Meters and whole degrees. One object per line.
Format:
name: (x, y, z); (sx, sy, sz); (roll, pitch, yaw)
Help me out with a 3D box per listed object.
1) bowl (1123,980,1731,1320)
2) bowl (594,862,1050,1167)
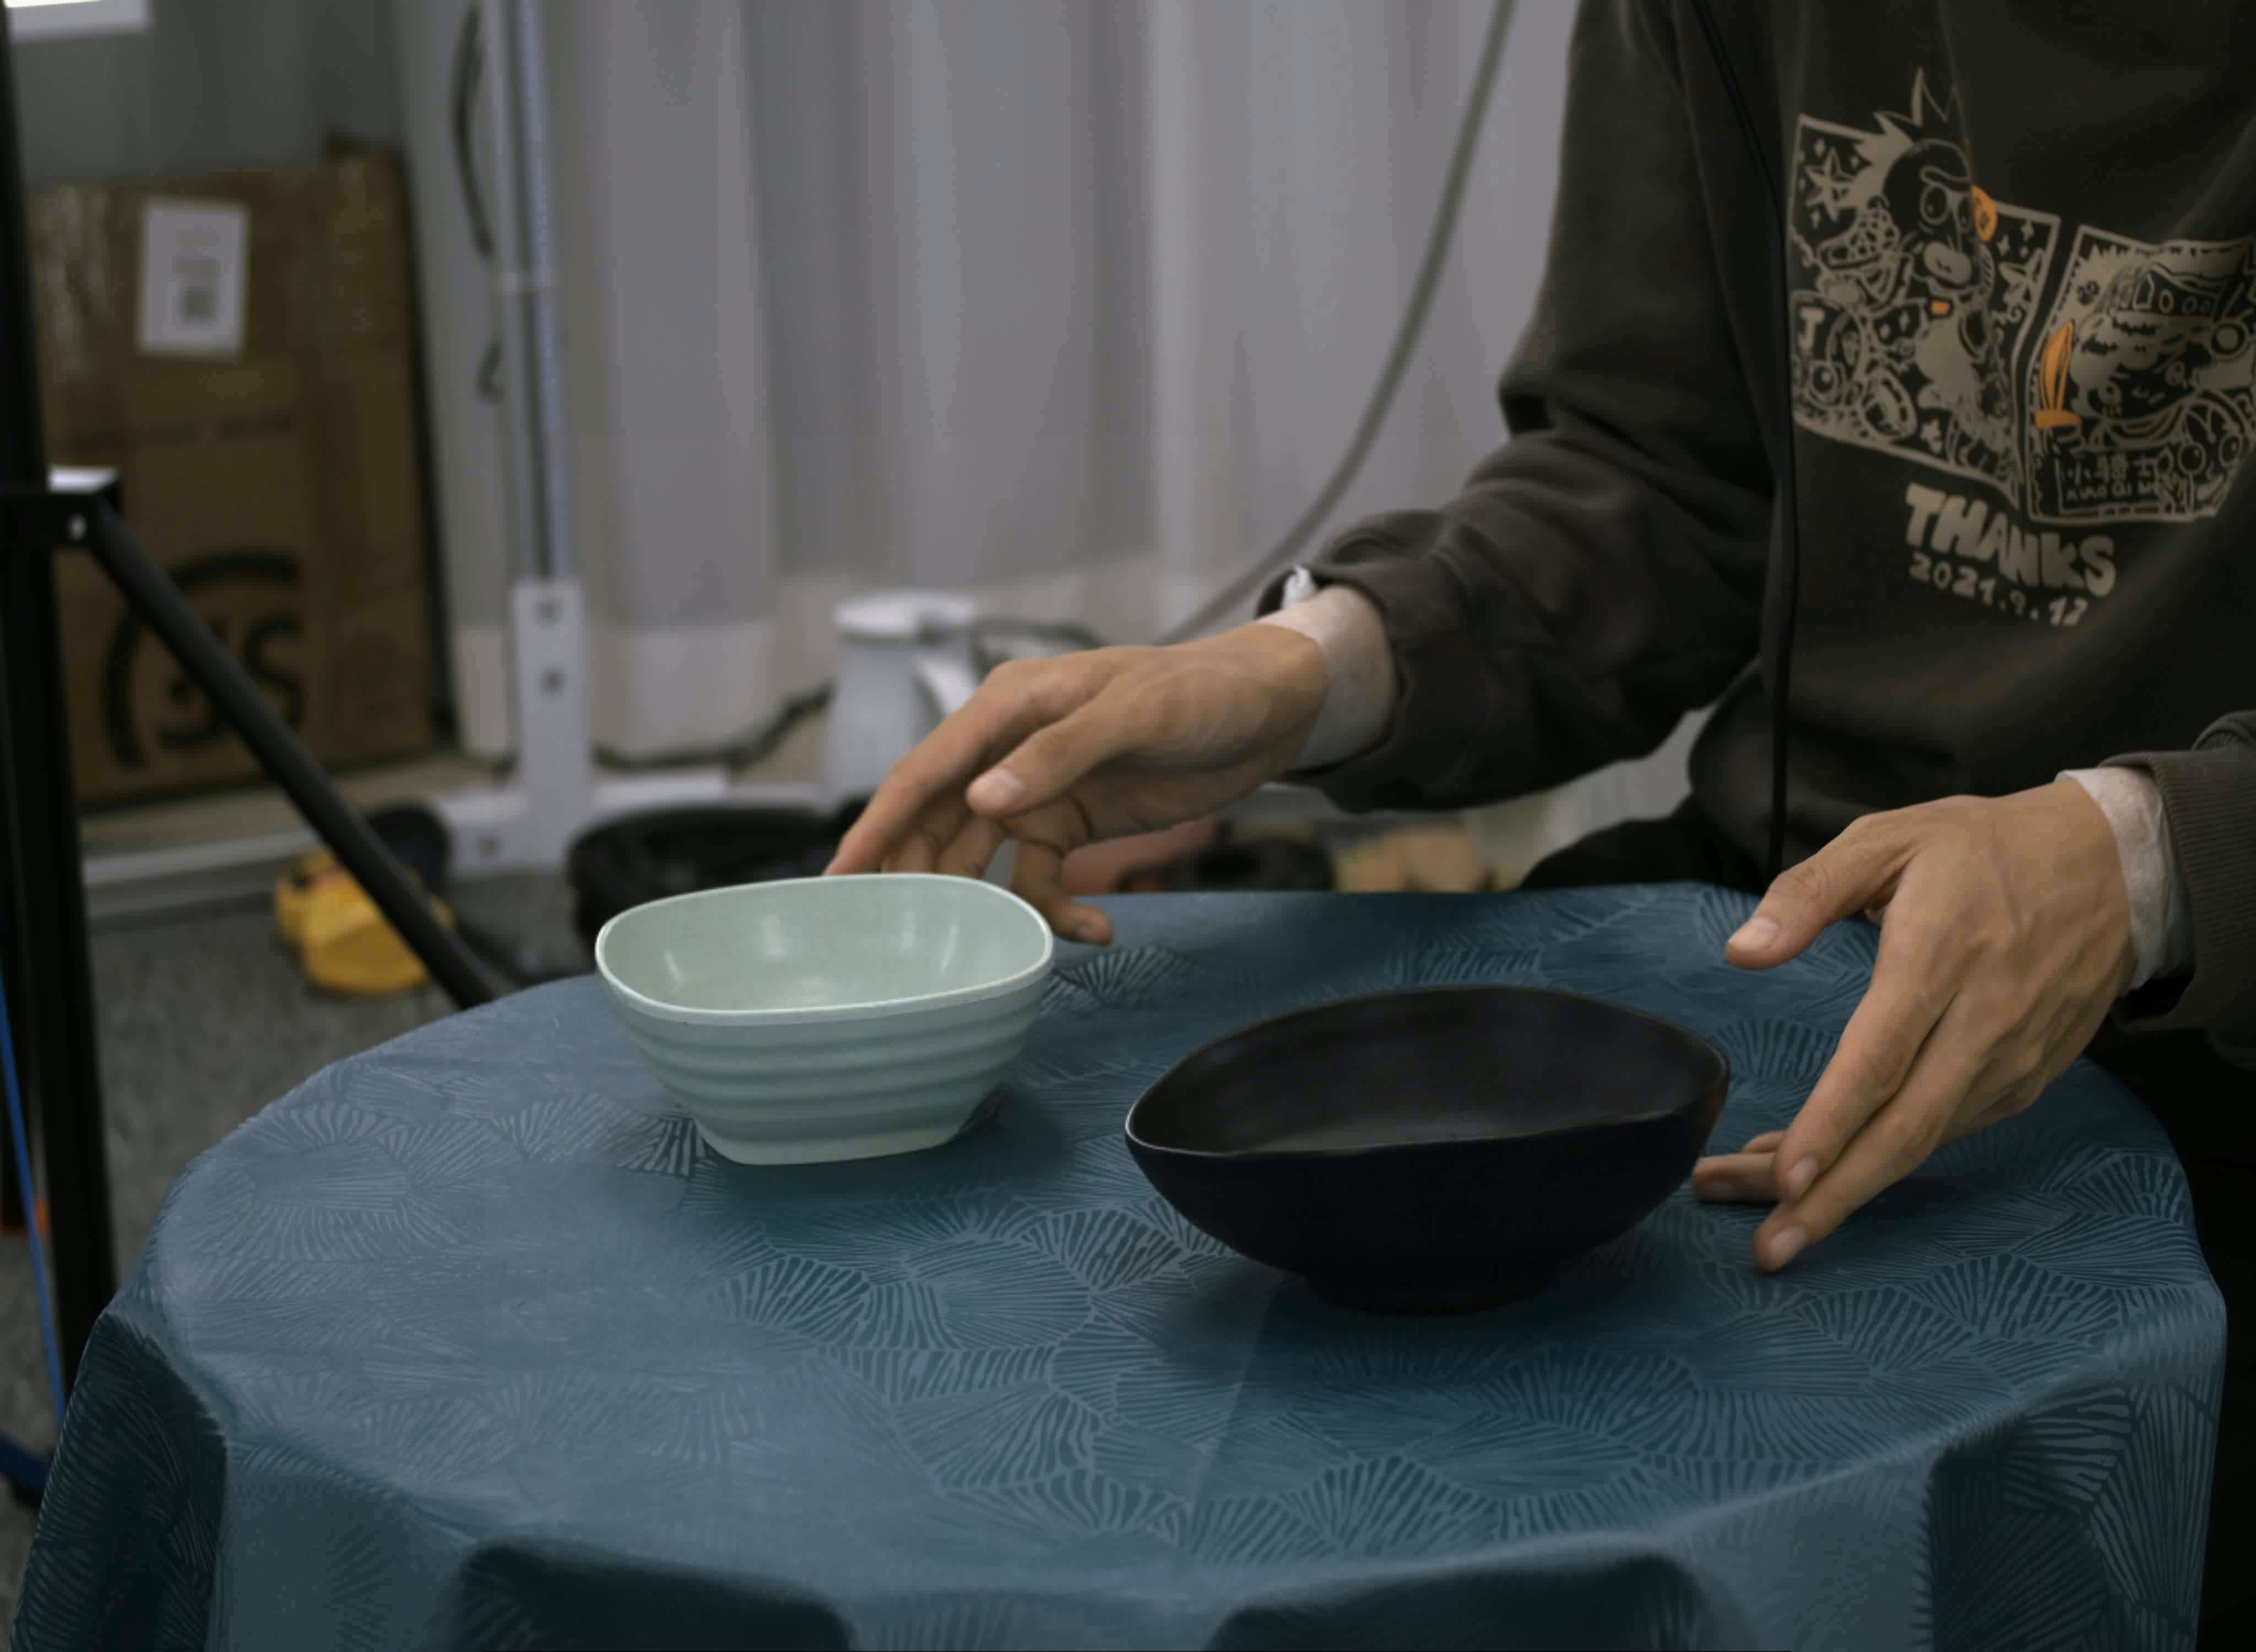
bowl: (0.085, 0.096, 1.475); (0.169, 0.066, 0.138); (-6, 16, -6)
bowl: (-0.093, 0.061, 1.638); (0.151, 0.058, 0.152); (-3, 18, 0)
